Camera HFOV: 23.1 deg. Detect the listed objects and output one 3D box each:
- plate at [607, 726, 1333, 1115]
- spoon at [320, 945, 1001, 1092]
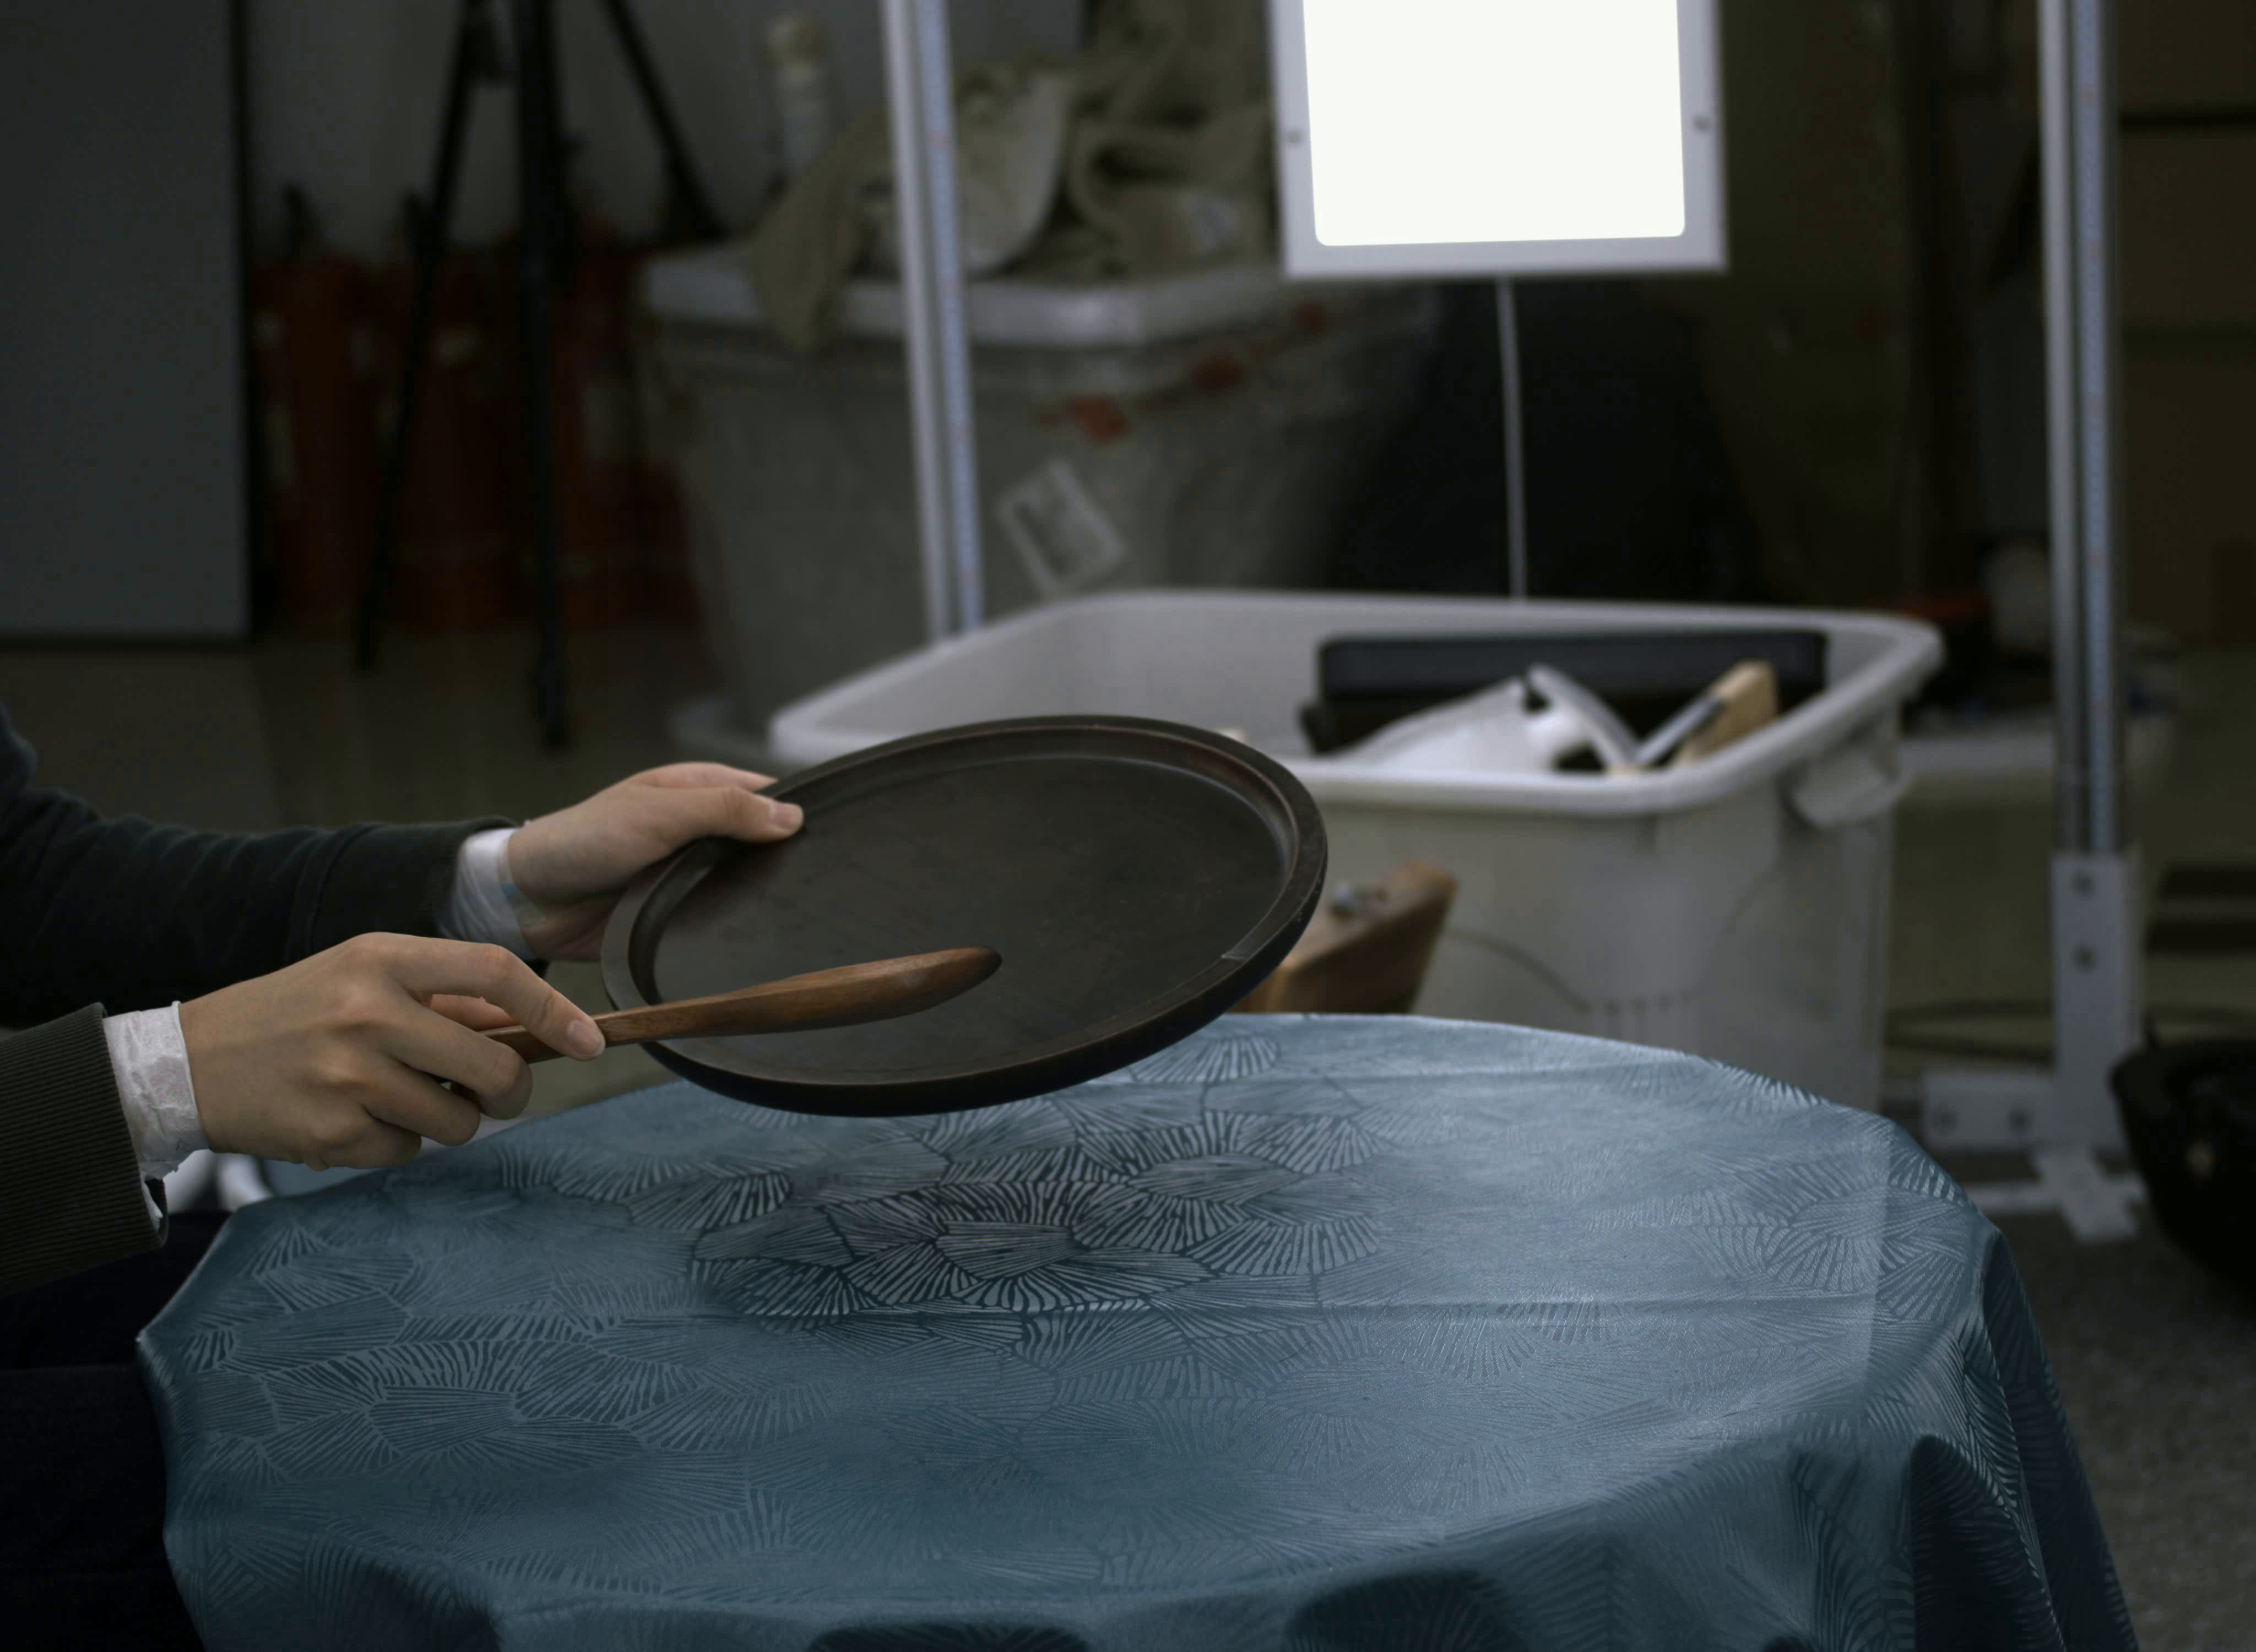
[{"bbox_3d":[-0.054,0.030,1.883,0.255,0.029,0.254,-9,27,3],"label":"plate"},{"bbox_3d":[-0.144,0.060,1.708,0.216,0.017,0.075,-9,4,6],"label":"spoon"}]
